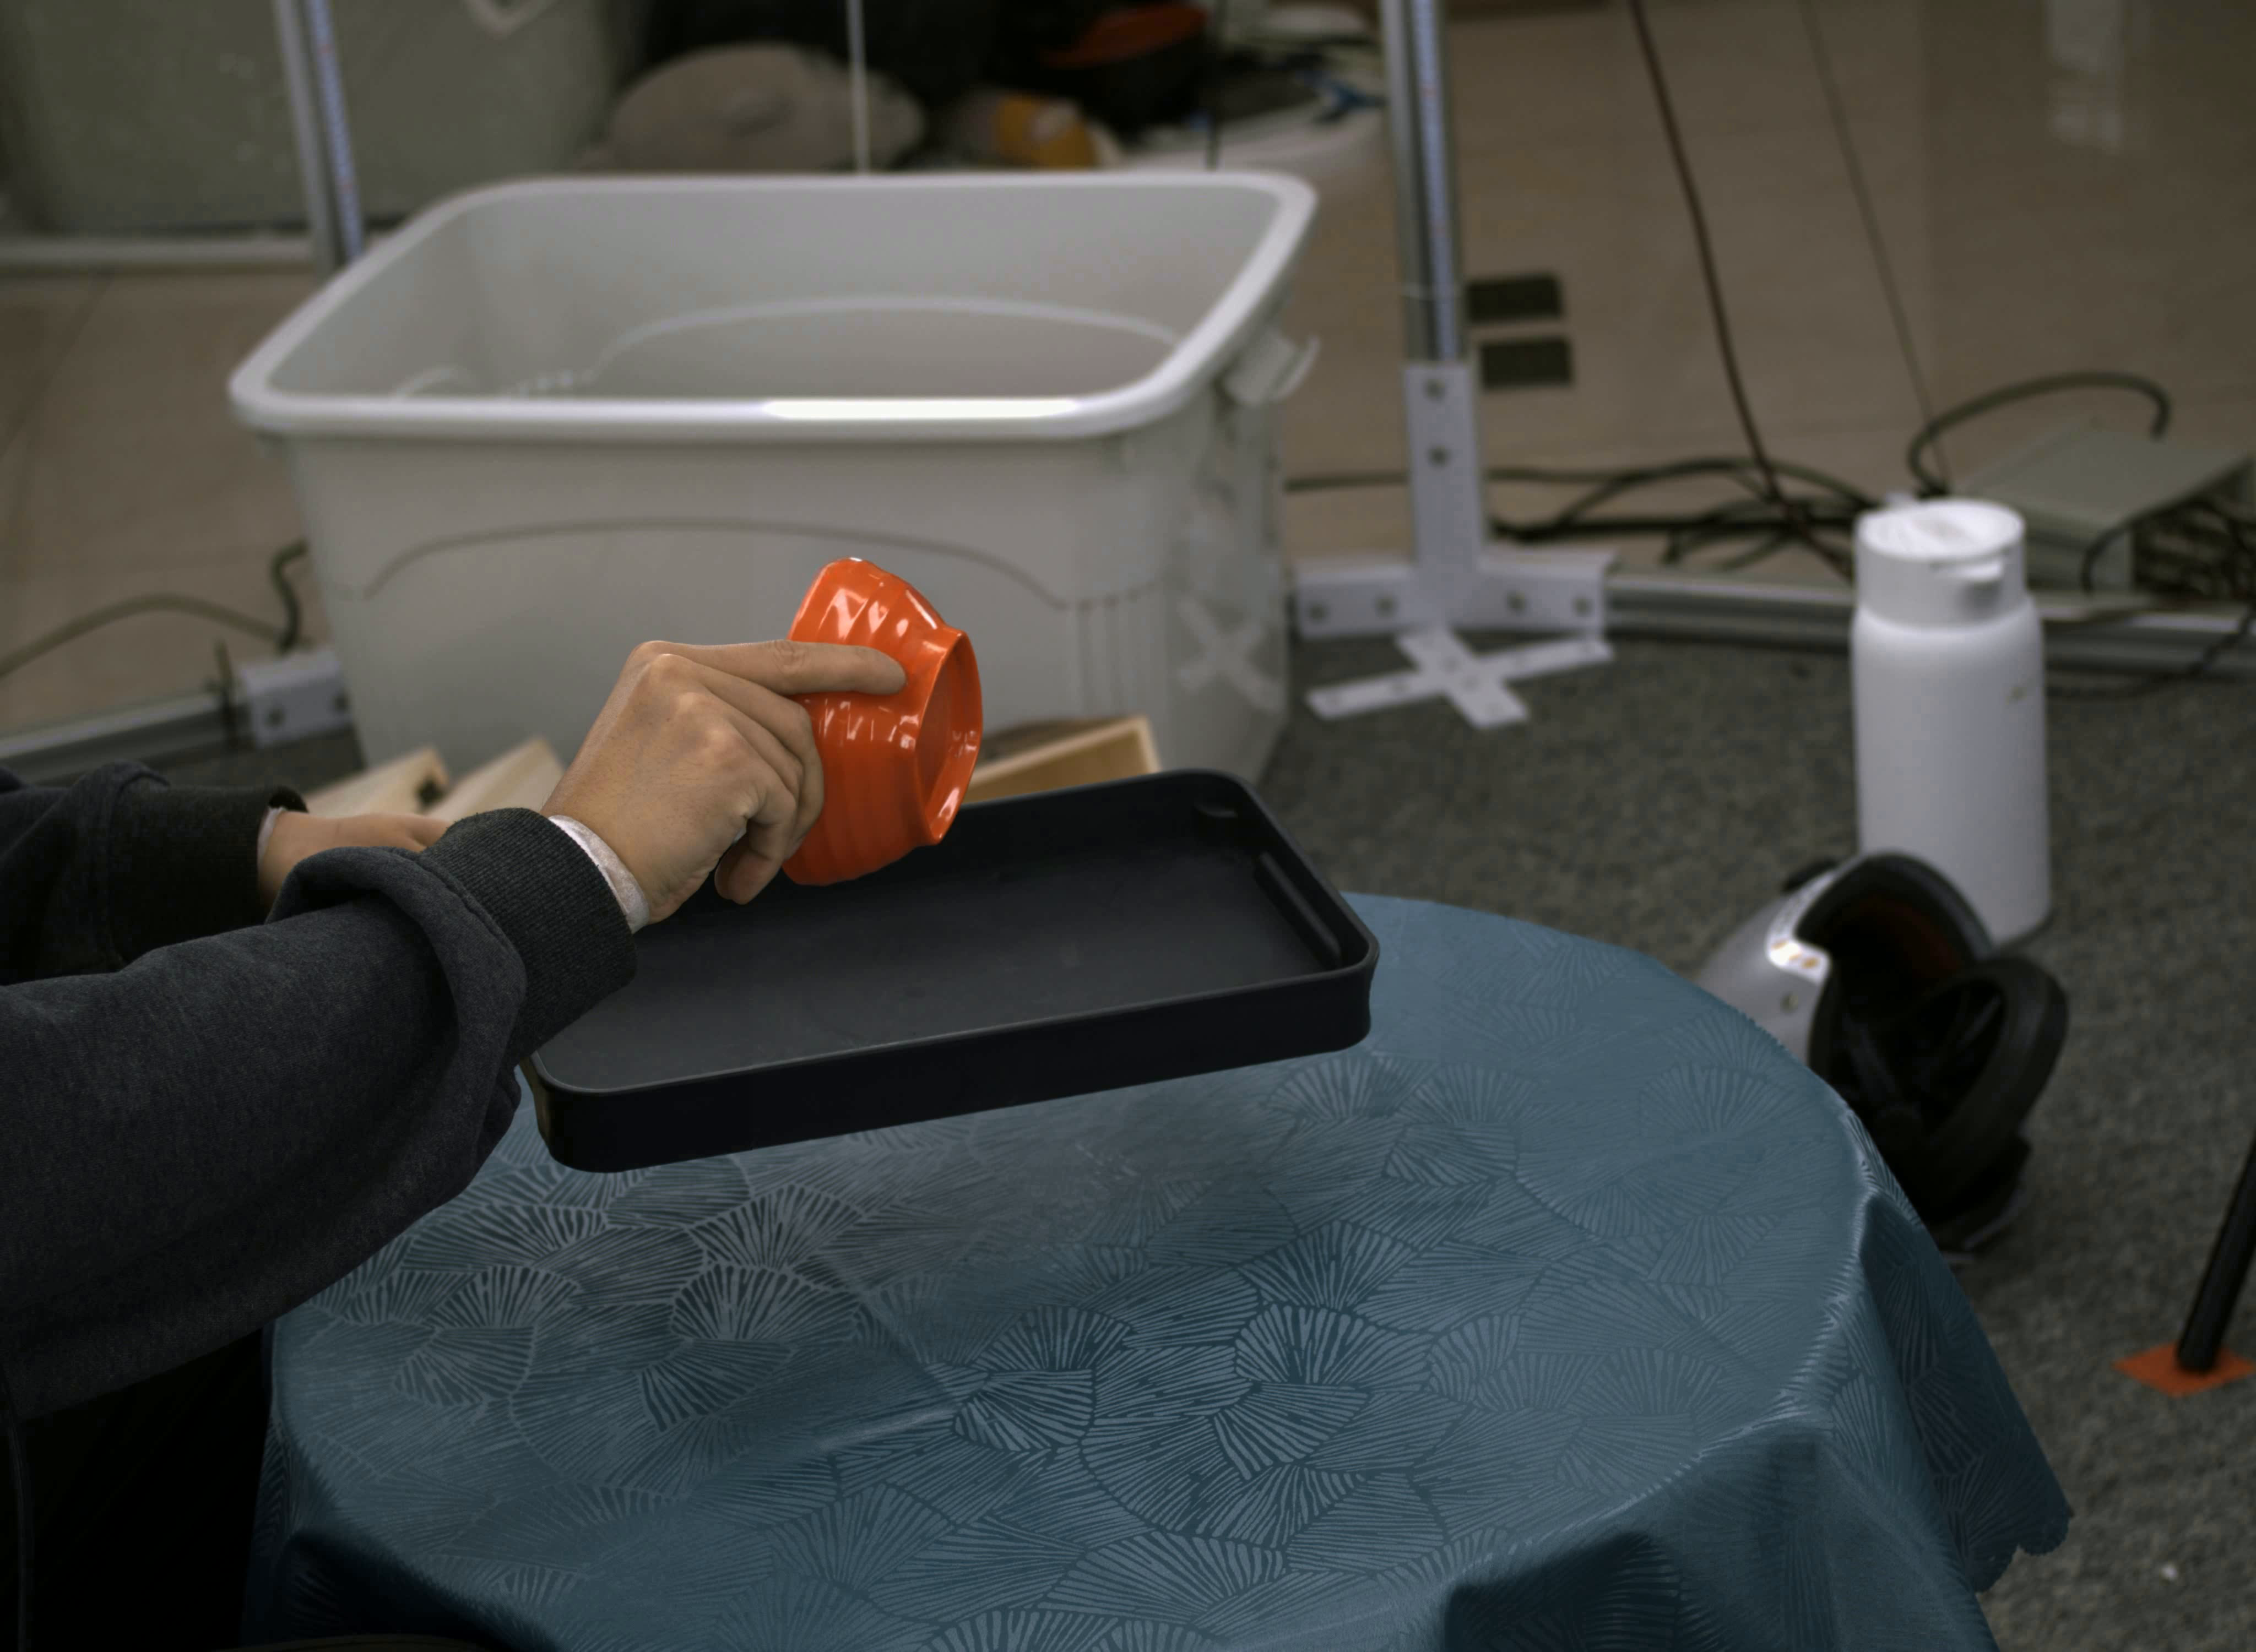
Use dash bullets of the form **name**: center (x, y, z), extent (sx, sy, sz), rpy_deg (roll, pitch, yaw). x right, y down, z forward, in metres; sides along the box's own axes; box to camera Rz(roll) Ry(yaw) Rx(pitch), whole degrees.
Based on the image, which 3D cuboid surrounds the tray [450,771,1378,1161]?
- **tray**: center (-0.081, 0.049, 2.109), extent (0.317, 0.037, 0.181), rpy_deg (-8, 27, -17)

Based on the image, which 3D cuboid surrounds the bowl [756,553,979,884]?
- **bowl**: center (-0.088, -0.035, 2.005), extent (0.051, 0.121, 0.117), rpy_deg (11, 29, 15)
